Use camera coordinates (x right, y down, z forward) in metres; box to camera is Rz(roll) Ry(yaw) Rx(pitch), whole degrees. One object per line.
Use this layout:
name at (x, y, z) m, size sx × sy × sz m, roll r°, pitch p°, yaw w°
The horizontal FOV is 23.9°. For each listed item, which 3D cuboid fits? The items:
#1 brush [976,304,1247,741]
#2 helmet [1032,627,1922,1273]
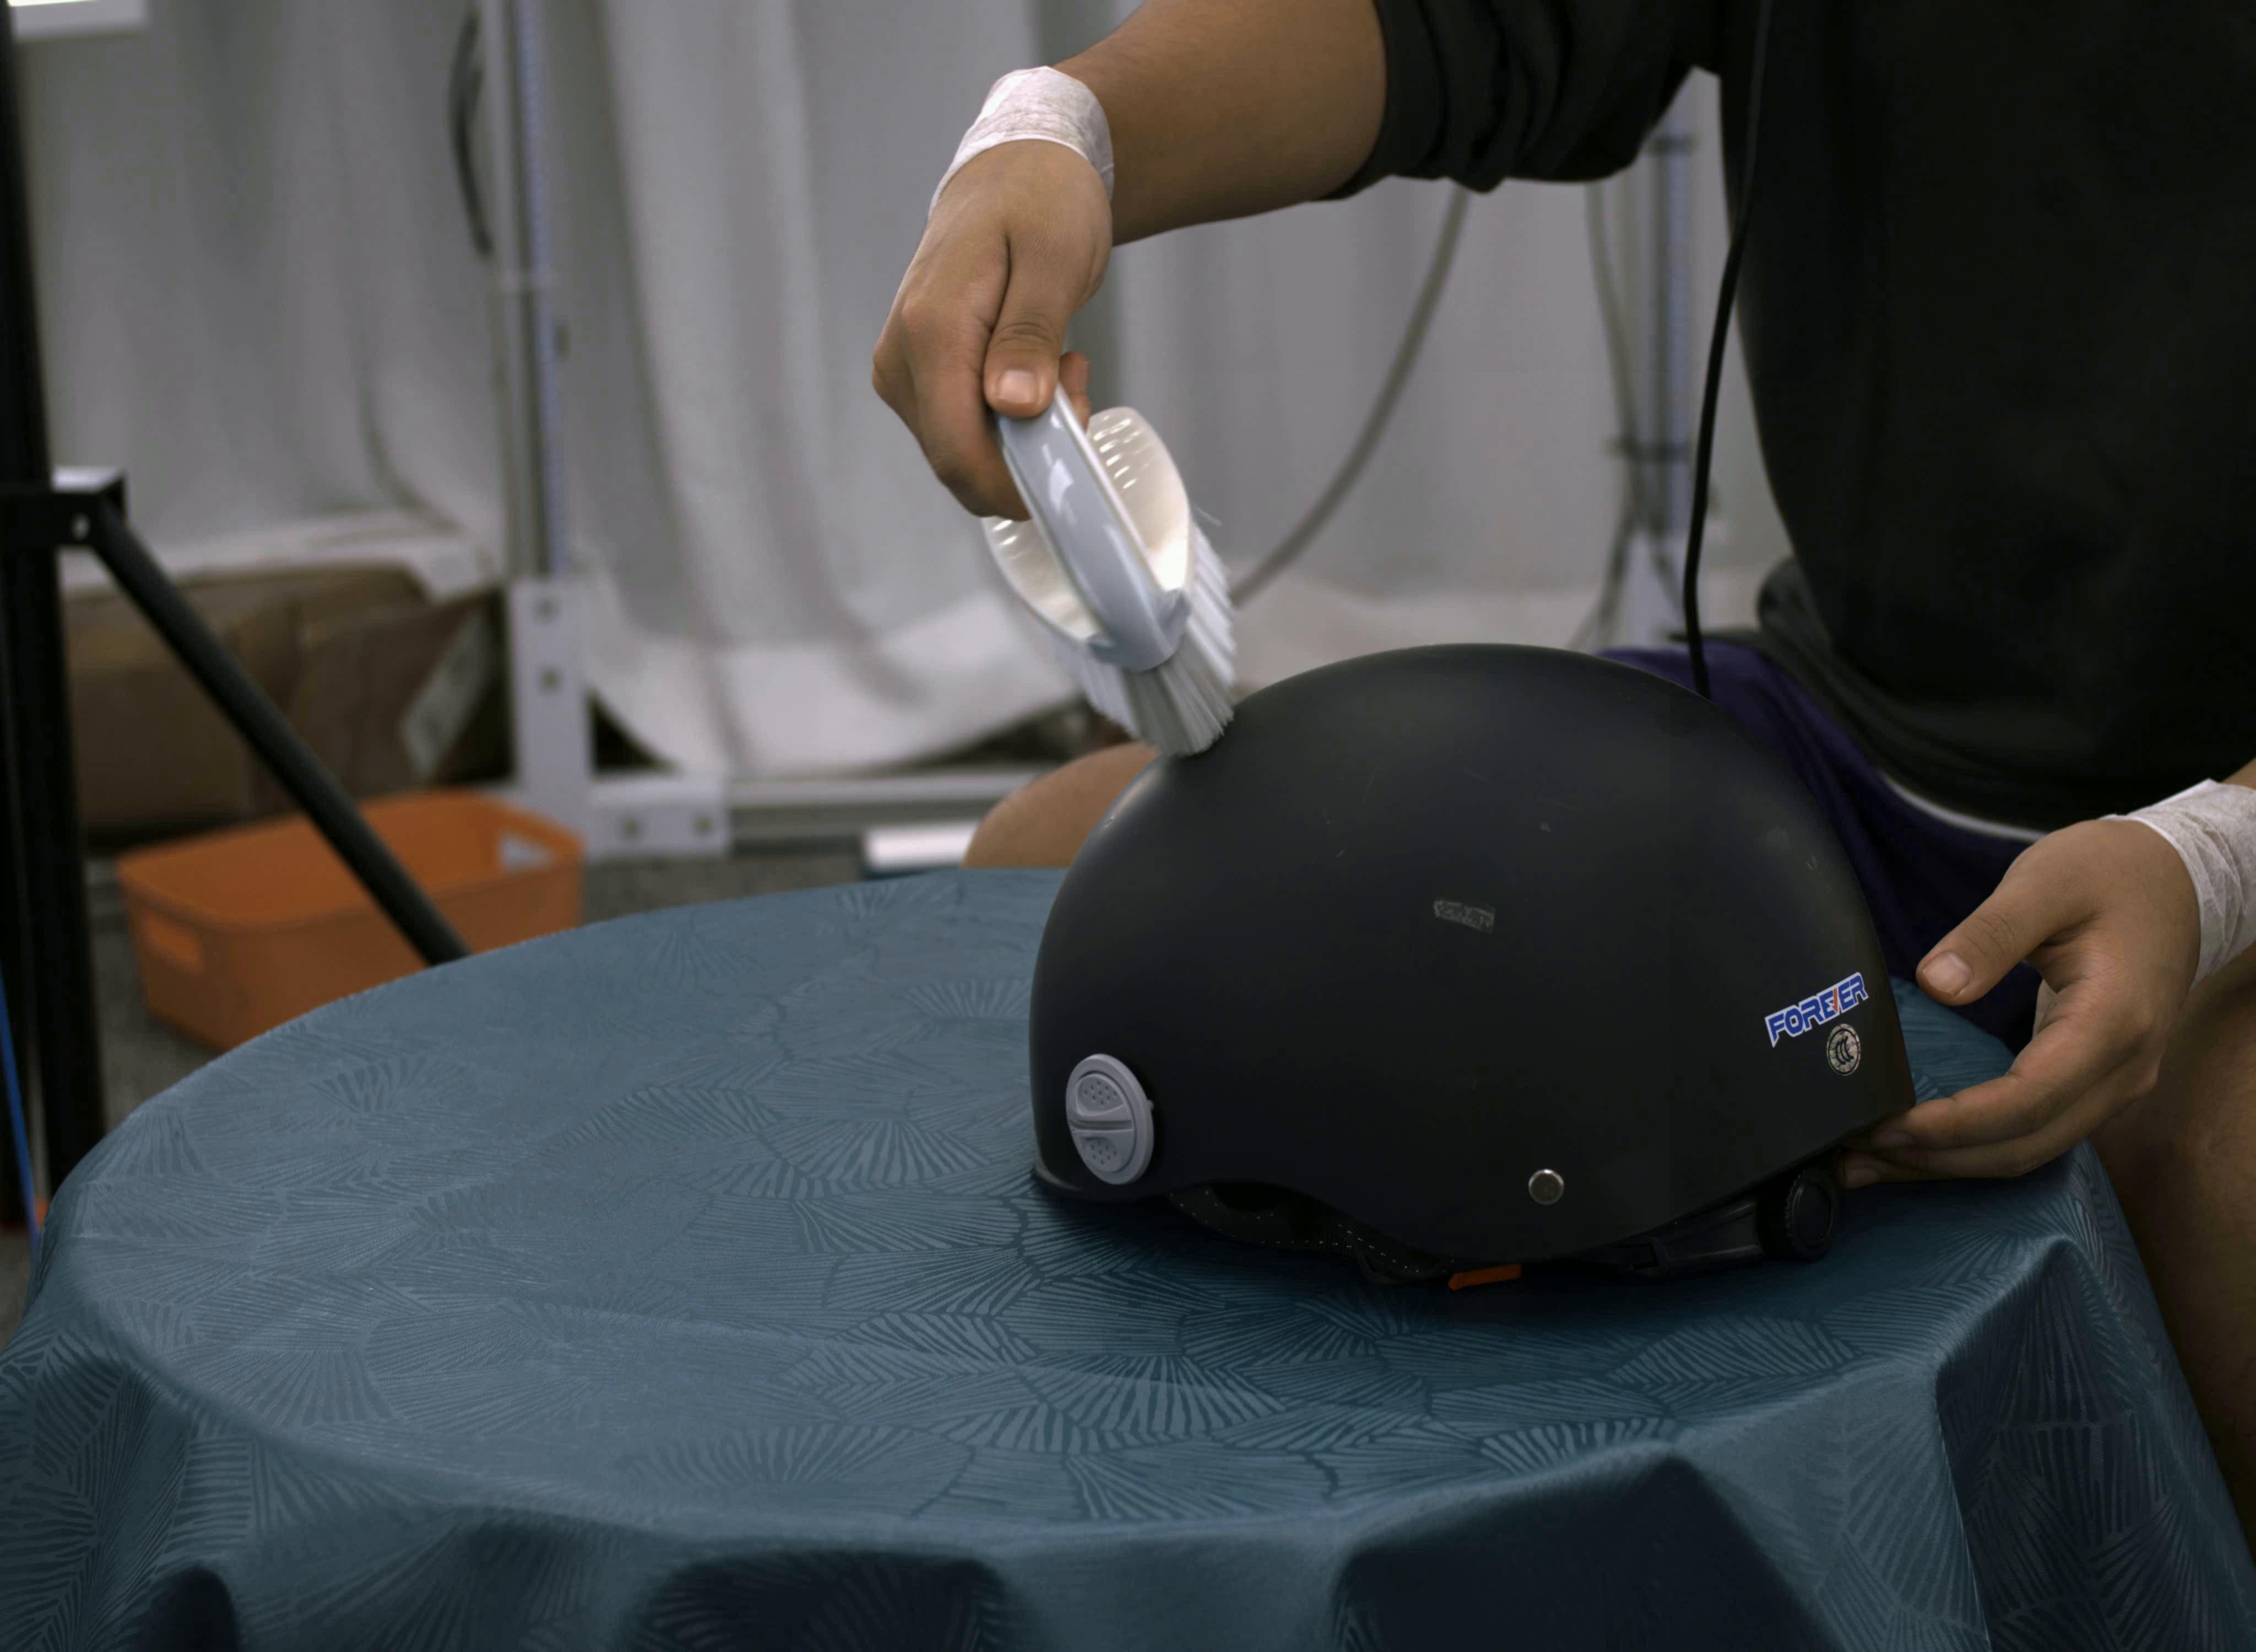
brush at (-0.008, -0.096, 1.577) m, size 0.061 × 0.093 × 0.178 m, roll -28°, pitch 31°, yaw 5°
helmet at (0.095, 0.027, 1.540) m, size 0.279 × 0.167 × 0.225 m, roll 10°, pitch 19°, yaw 43°
